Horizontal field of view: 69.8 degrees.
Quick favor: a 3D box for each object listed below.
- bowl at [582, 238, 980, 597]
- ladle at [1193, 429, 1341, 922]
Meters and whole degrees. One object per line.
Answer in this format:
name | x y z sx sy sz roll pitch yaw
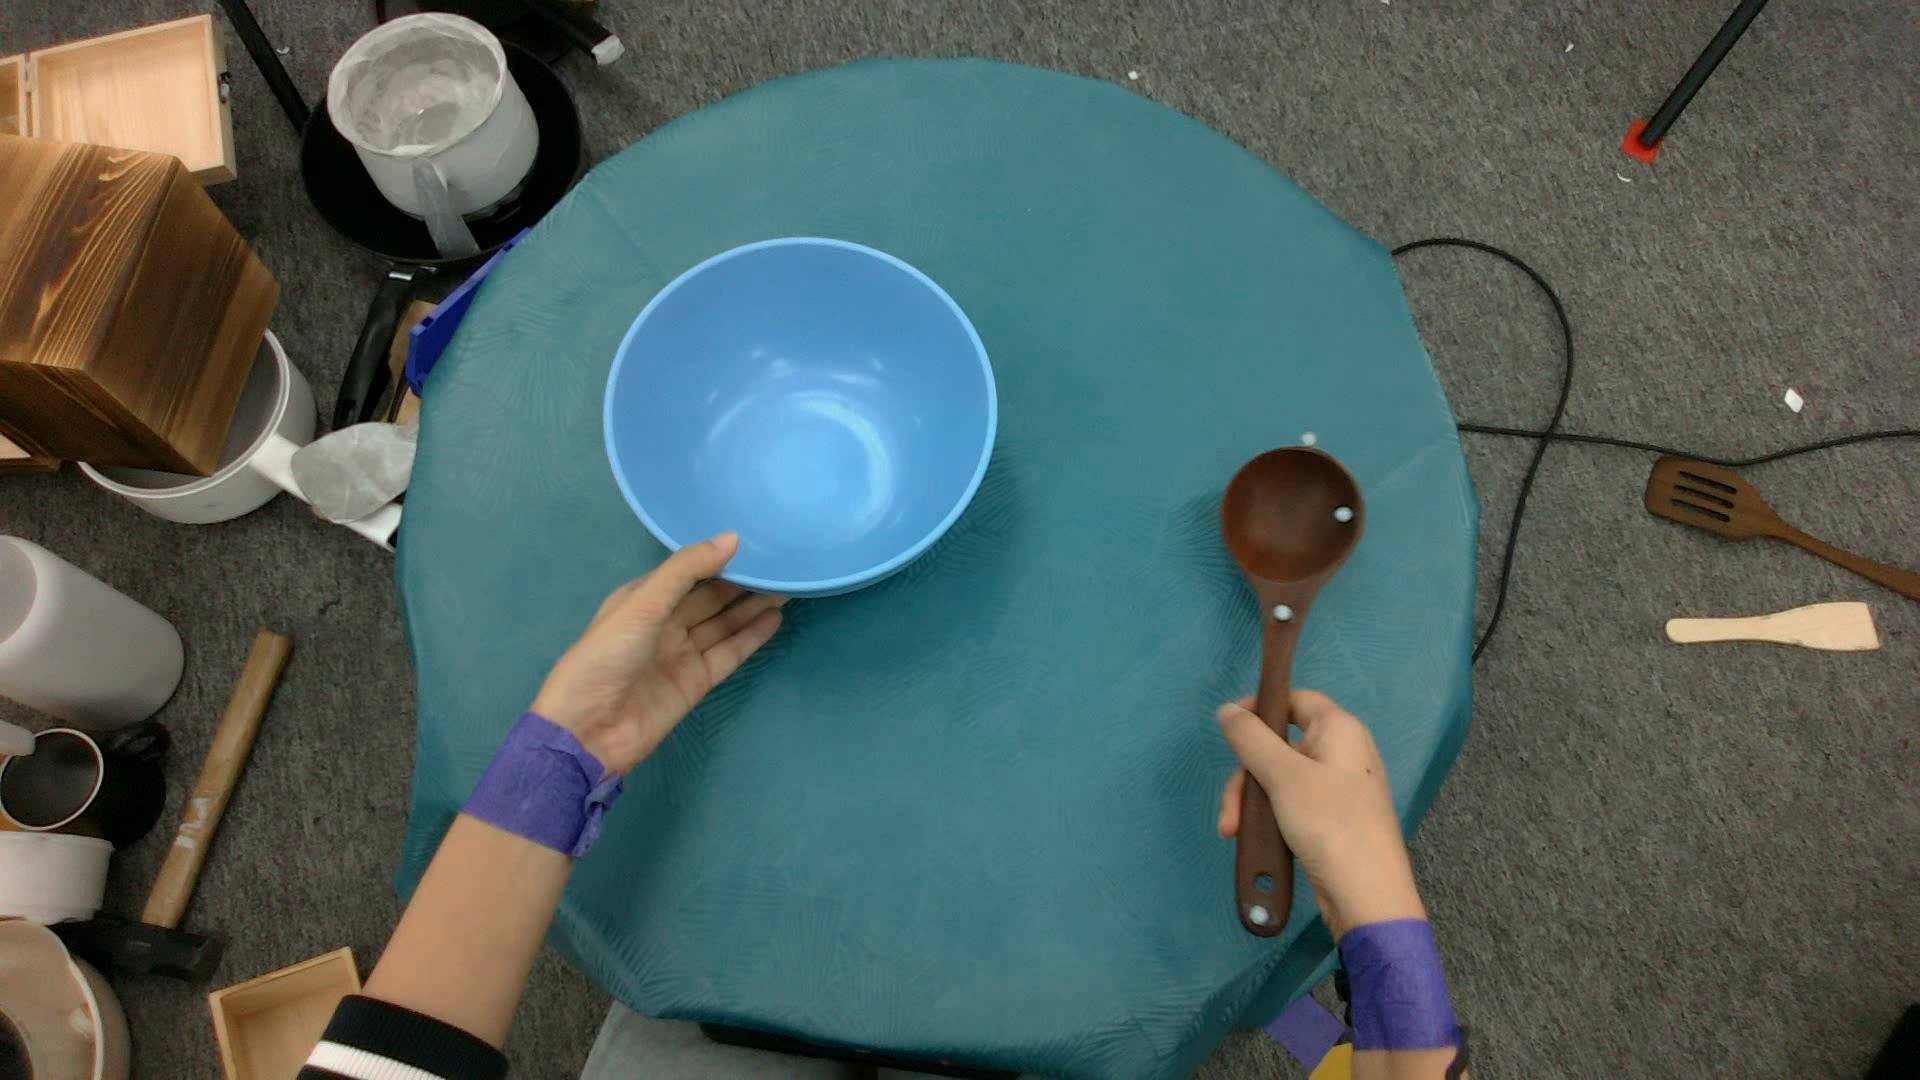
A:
bowl | -0.094 -0.051 0.726 0.196 0.095 0.197 3 66 -8
ladle | 0.145 0.054 0.673 0.076 0.065 0.261 -3 48 20
